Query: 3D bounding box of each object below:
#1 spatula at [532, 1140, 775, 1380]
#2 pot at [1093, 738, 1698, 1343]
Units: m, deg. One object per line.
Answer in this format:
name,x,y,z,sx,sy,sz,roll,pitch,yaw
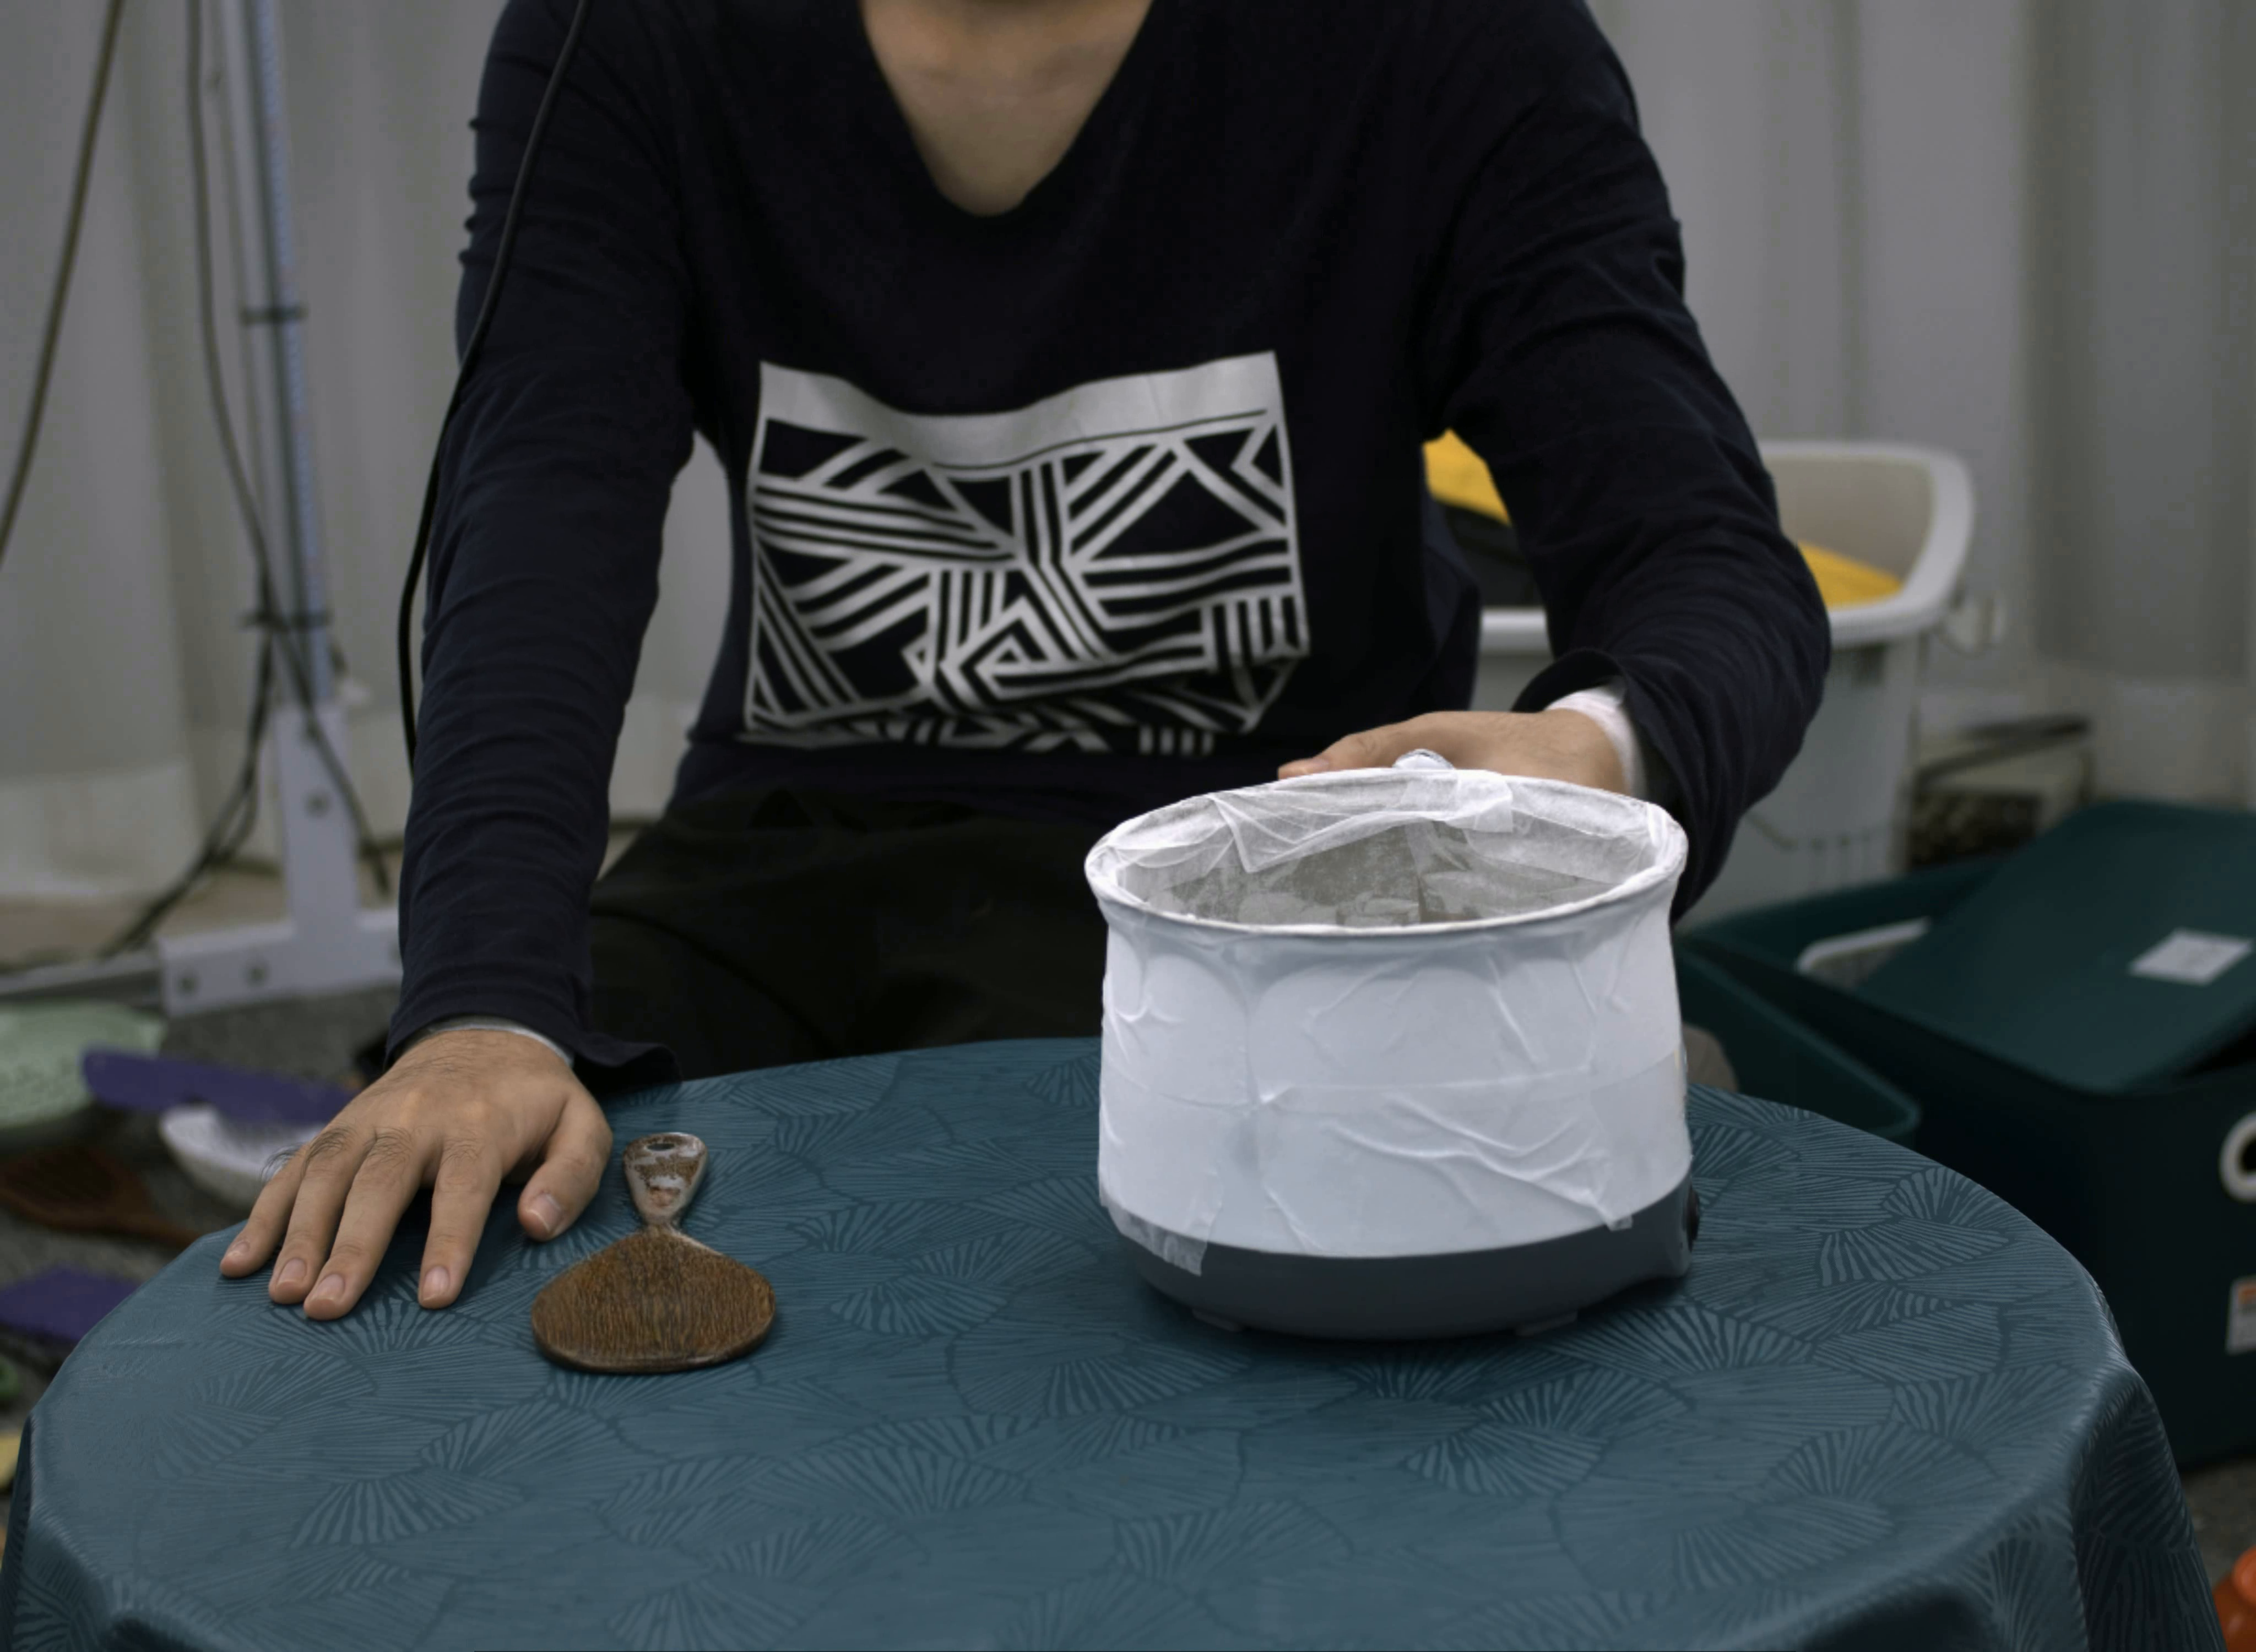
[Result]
spatula,-0.143,0.130,1.679,0.071,0.009,0.217,-2,14,-2
pot,0.082,0.059,1.642,0.178,0.136,0.235,2,16,7
